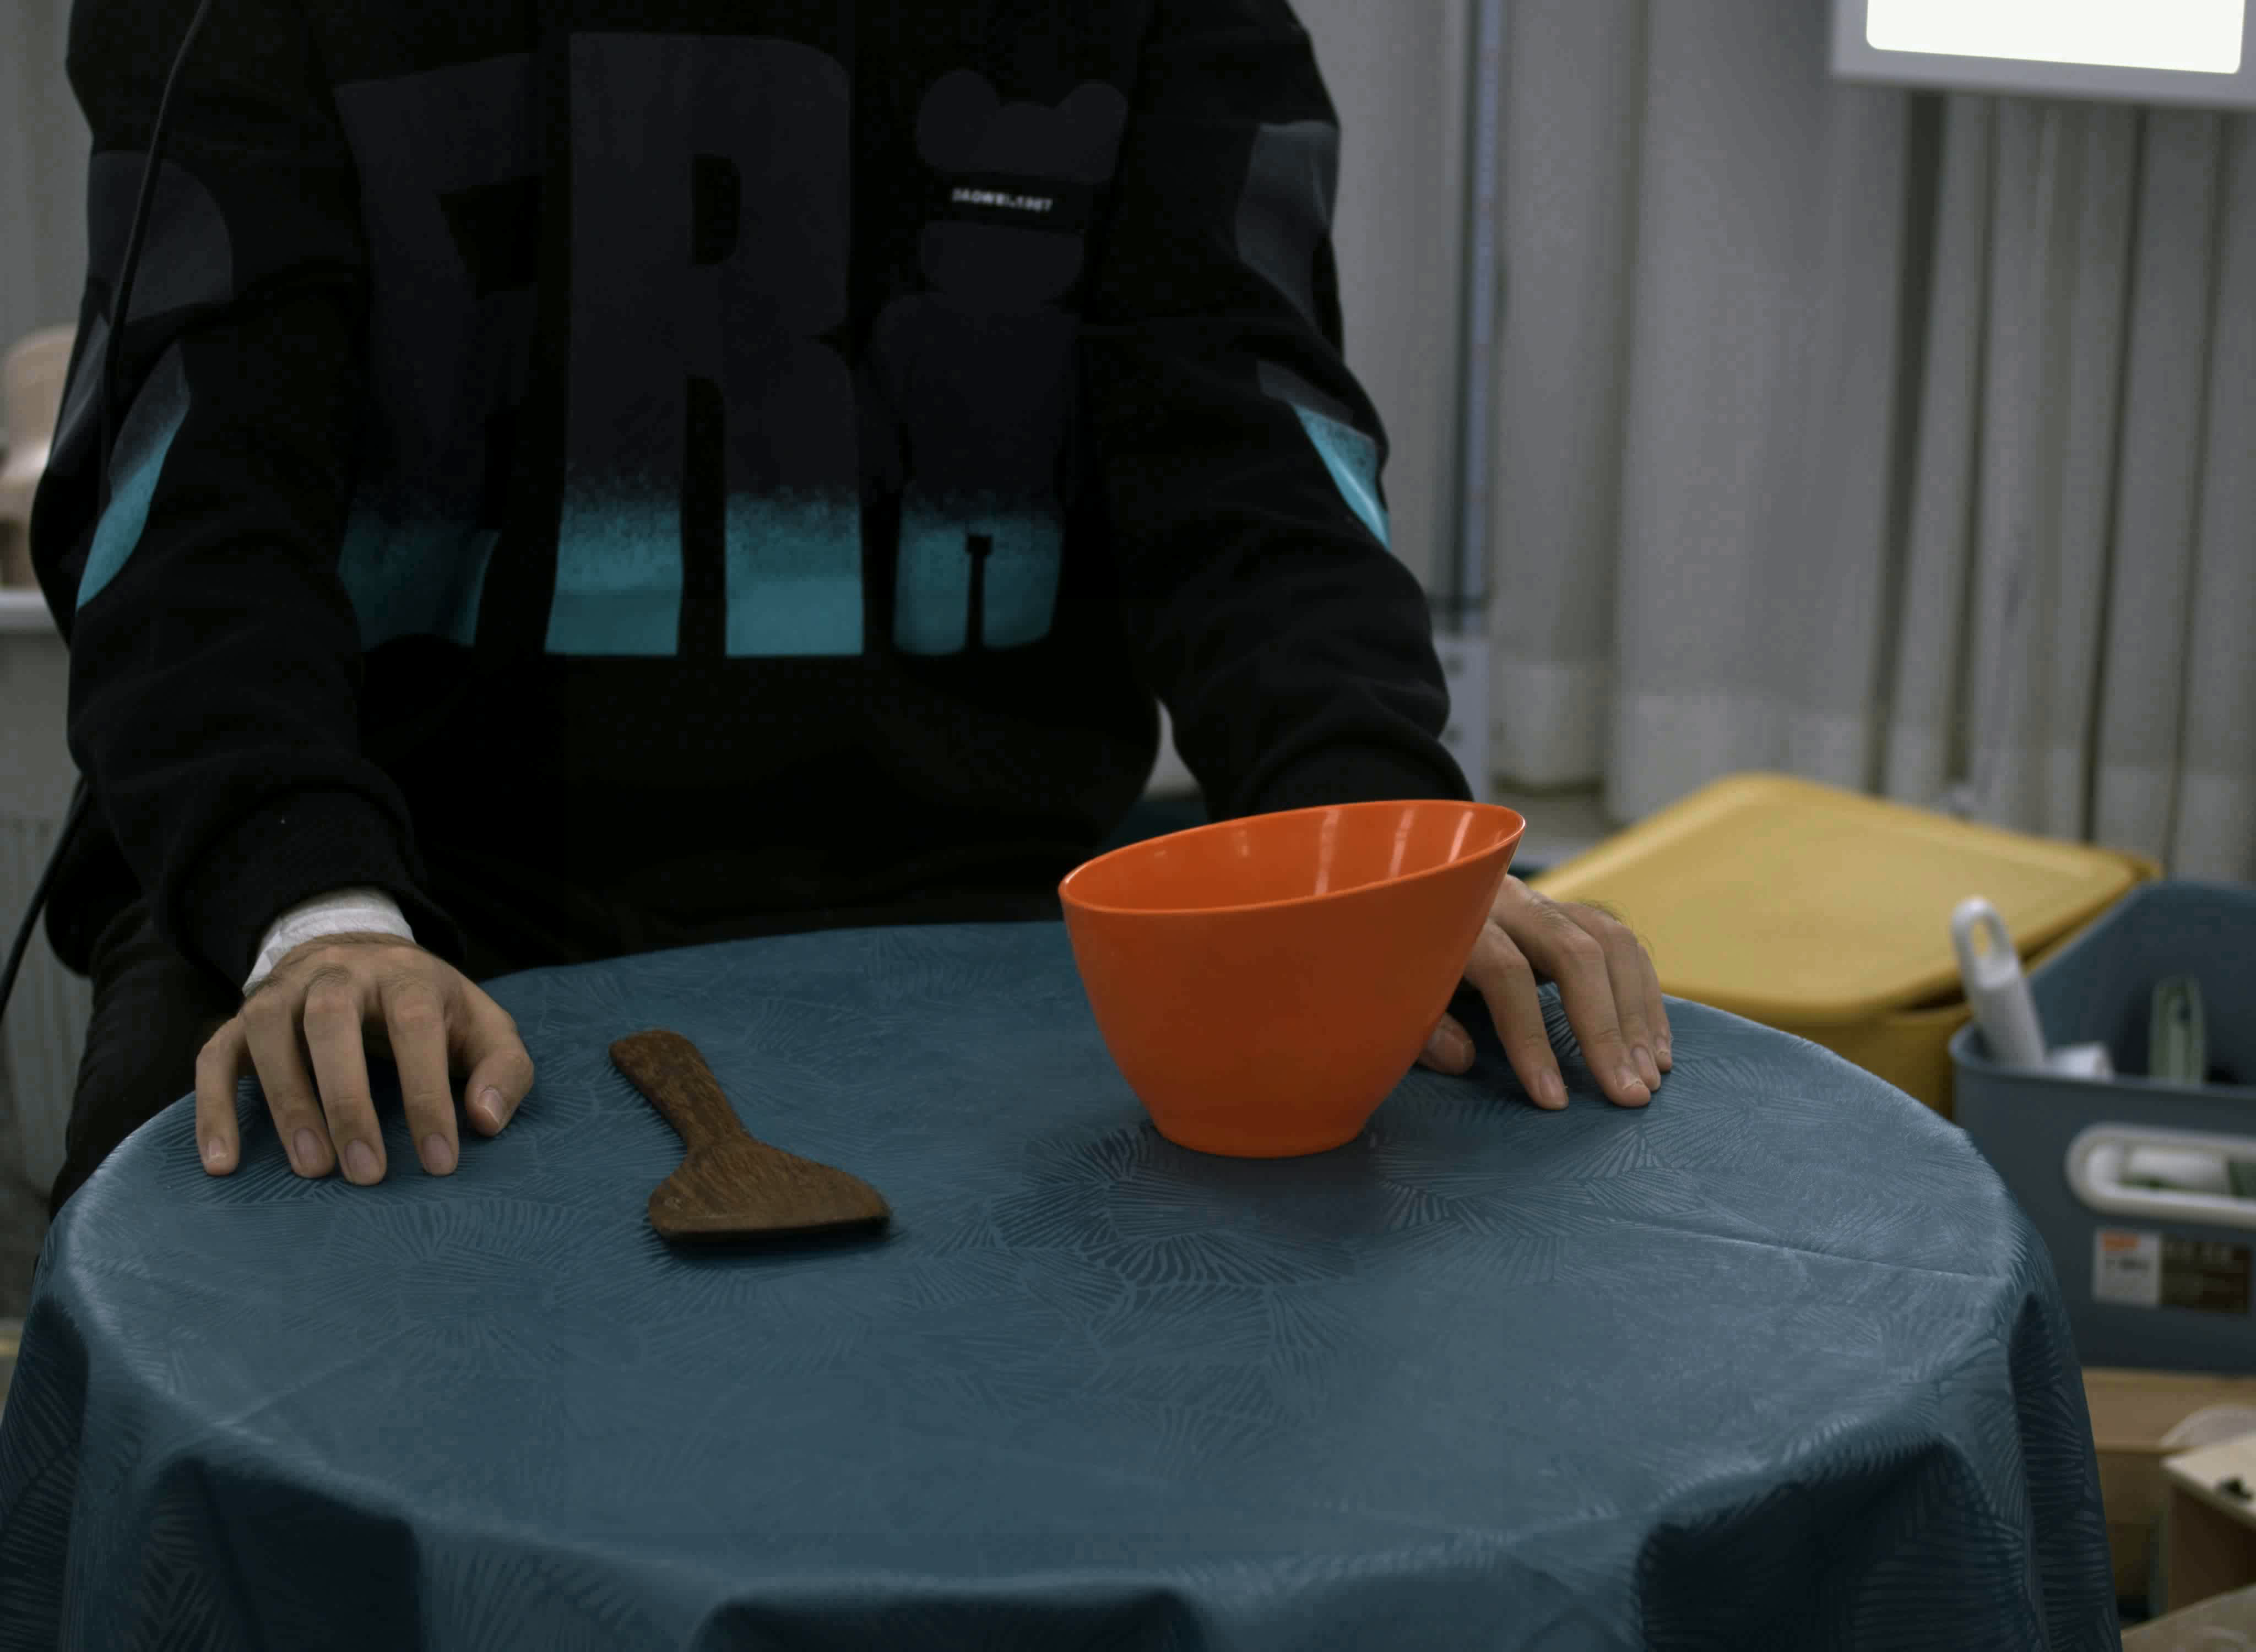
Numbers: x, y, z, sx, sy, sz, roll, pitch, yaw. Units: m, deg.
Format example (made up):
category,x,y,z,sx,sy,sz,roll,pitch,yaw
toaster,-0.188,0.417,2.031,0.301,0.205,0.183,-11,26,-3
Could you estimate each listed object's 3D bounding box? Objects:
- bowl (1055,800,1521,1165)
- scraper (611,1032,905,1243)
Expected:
category,x,y,z,sx,sy,sz,roll,pitch,yaw
bowl,0.051,0.050,1.667,0.147,0.105,0.147,-1,17,1
scraper,-0.130,0.097,1.661,0.076,0.011,0.209,-3,16,-17
